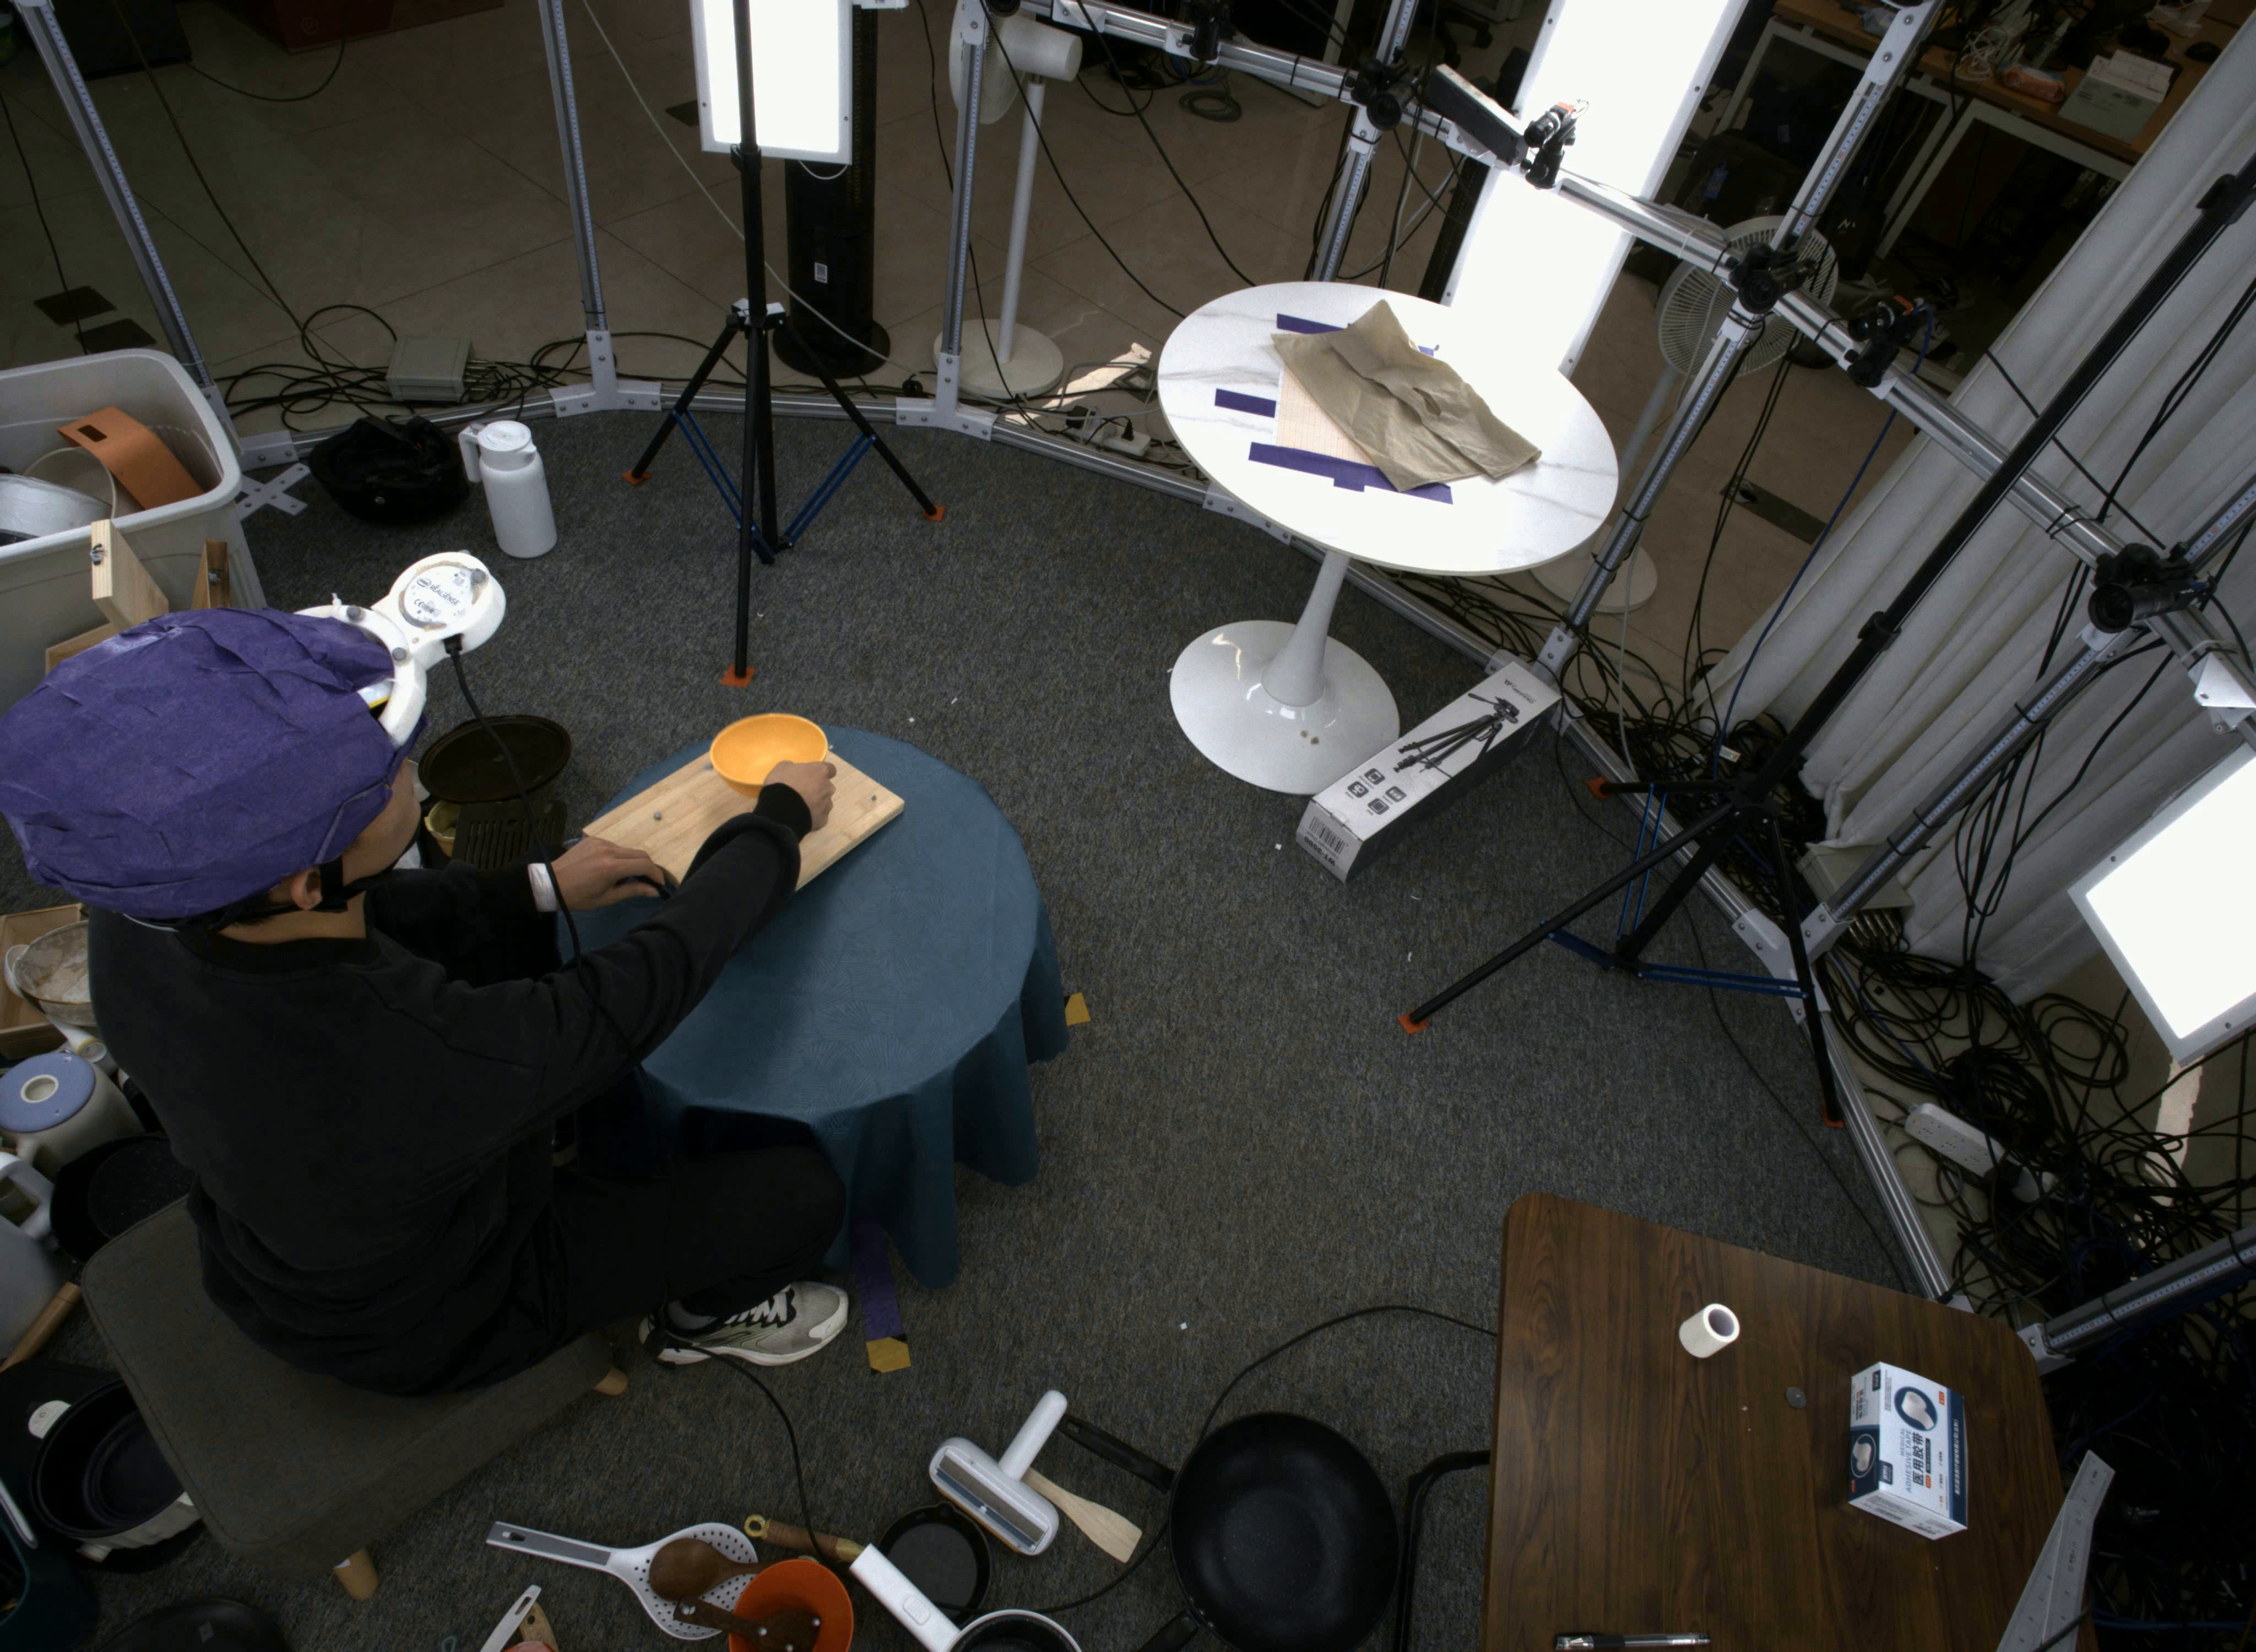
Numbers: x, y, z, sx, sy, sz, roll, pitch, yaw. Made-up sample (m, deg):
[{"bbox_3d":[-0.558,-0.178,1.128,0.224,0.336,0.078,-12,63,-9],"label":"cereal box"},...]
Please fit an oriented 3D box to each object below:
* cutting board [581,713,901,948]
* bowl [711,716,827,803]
[{"bbox_3d":[-0.491,-0.007,1.666,0.246,0.024,0.348,33,42,11],"label":"cutting board"},{"bbox_3d":[-0.447,-0.073,1.631,0.143,0.062,0.142,0,42,1],"label":"bowl"}]
